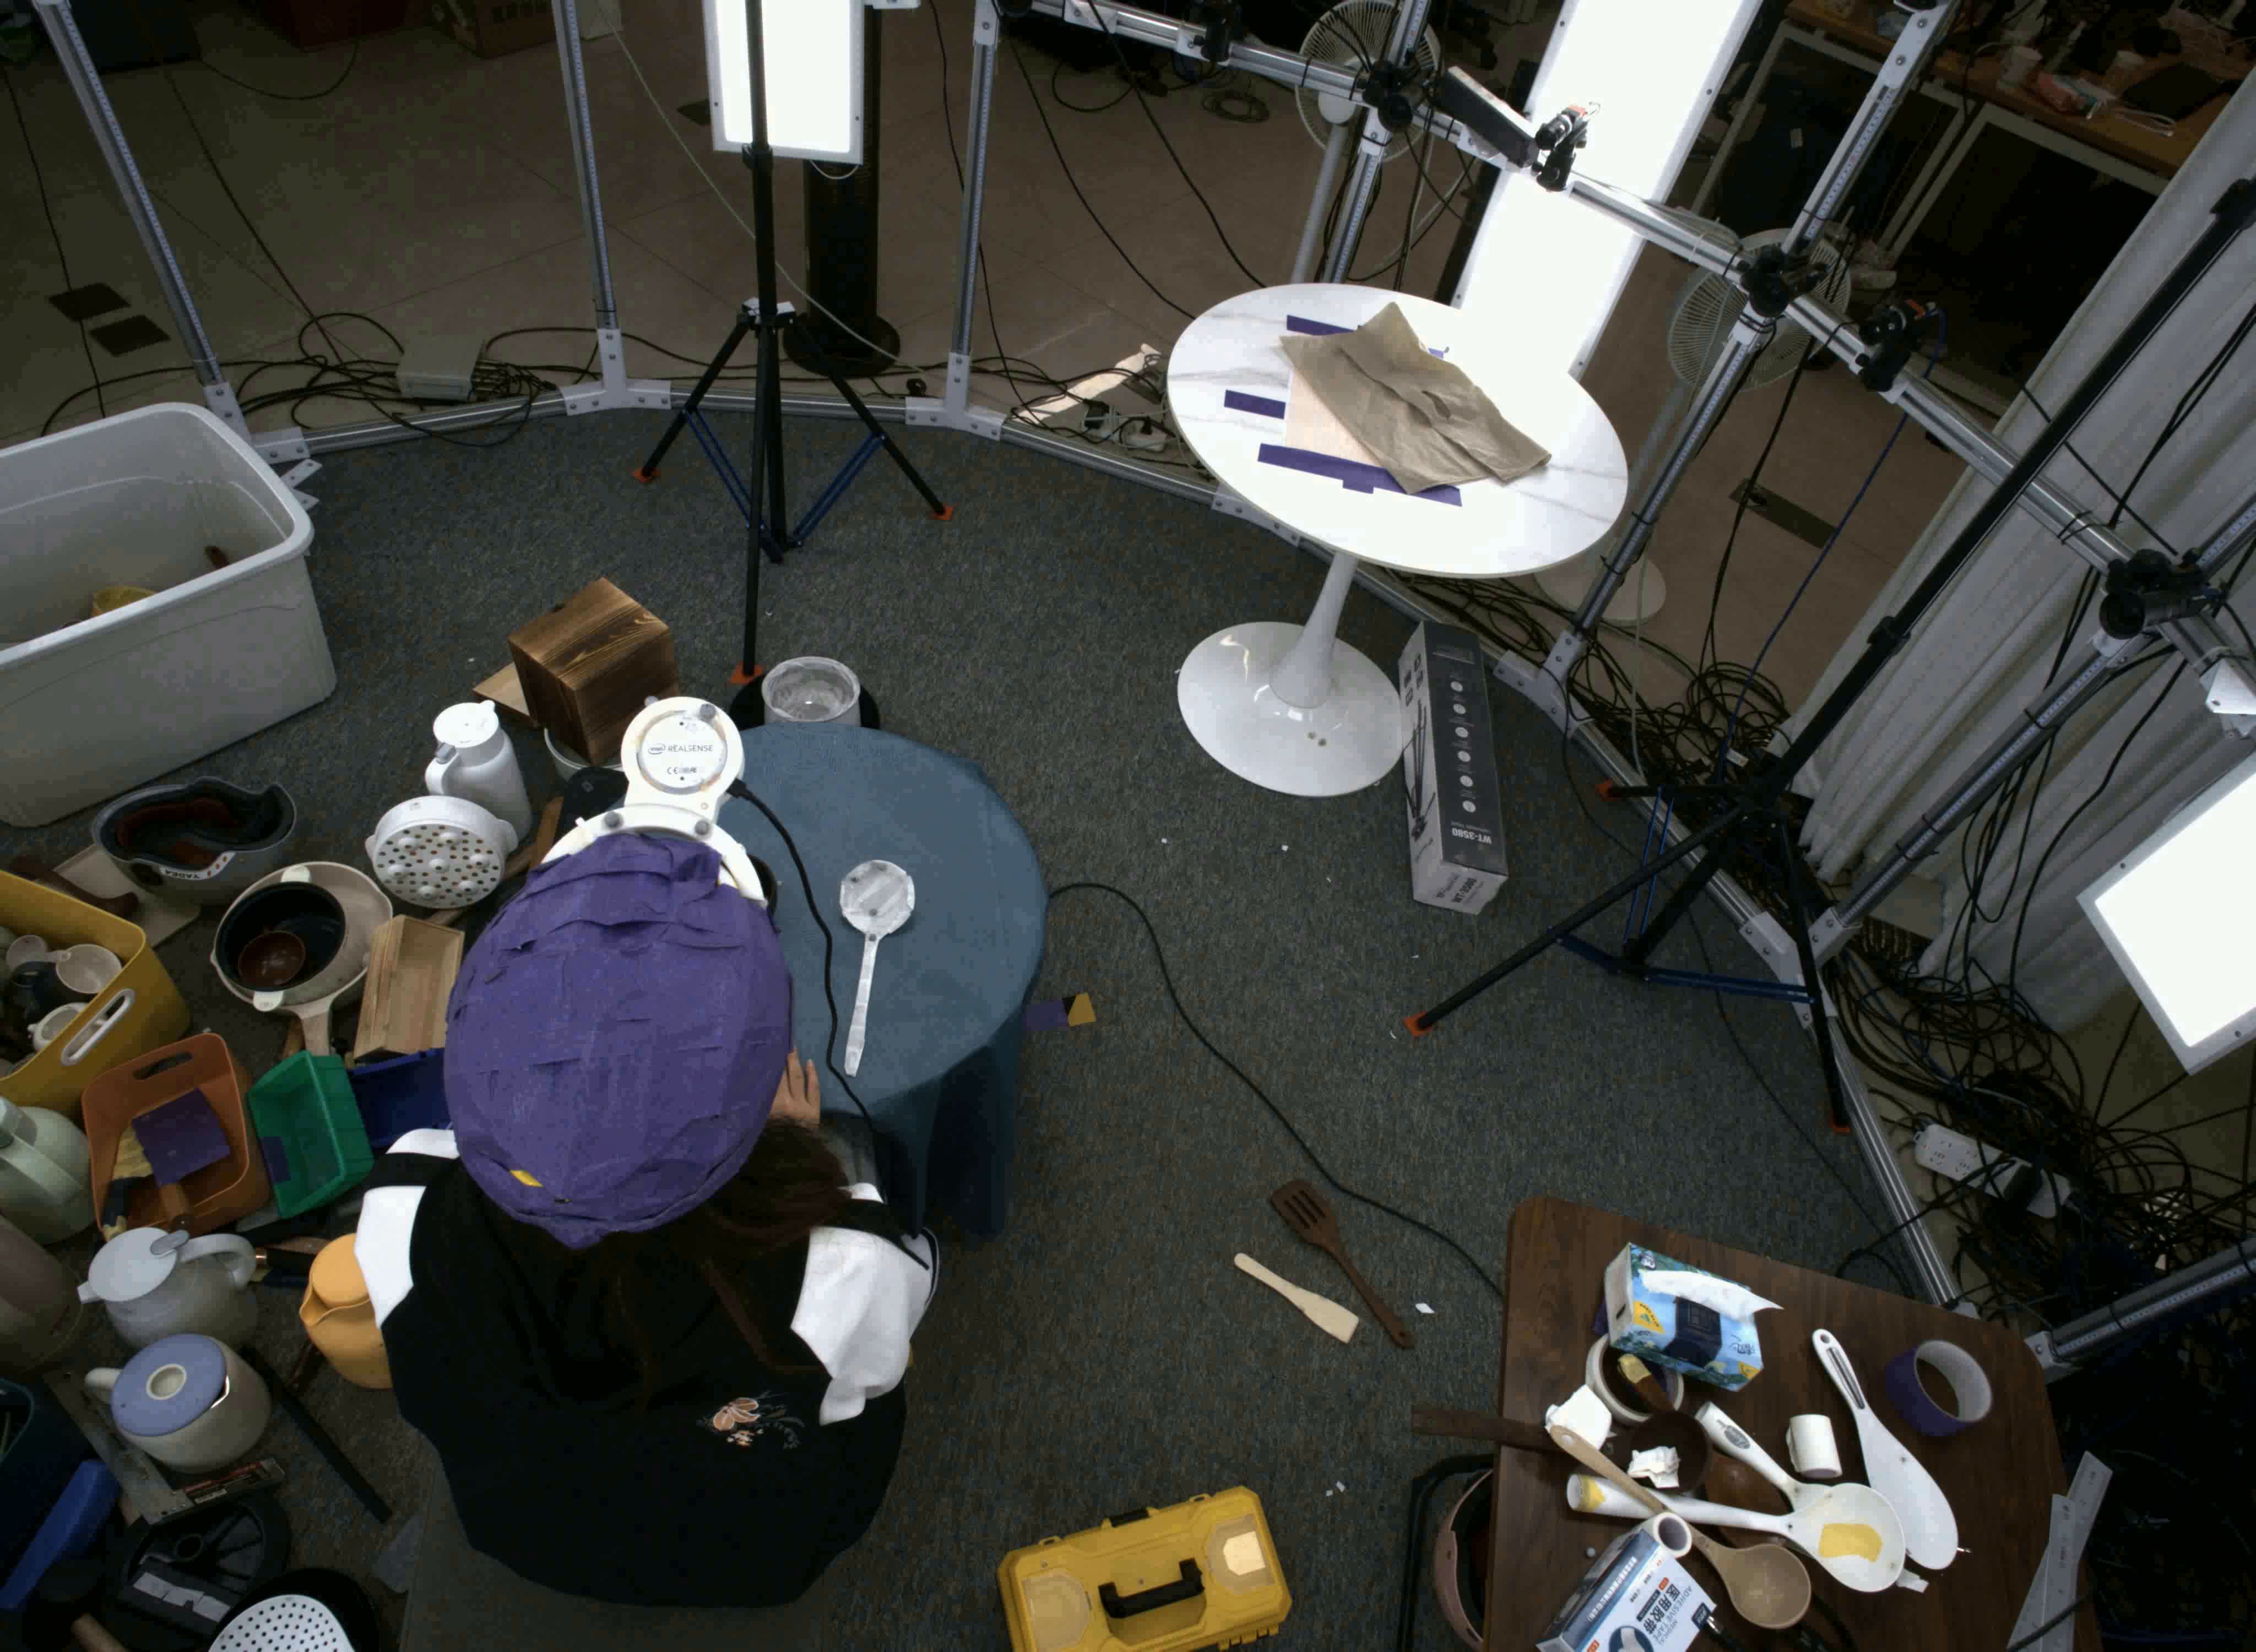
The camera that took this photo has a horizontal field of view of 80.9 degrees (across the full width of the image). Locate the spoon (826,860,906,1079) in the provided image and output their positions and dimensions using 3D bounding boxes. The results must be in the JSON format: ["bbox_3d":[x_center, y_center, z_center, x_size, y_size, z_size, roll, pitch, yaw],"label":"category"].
[{"bbox_3d":[-0.334,0.167,1.580,0.100,0.061,0.272,7,52,-5],"label":"spoon"}]

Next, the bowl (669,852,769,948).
[{"bbox_3d":[-0.499,0.096,1.580,0.118,0.071,0.116,7,52,-8],"label":"bowl"}]
